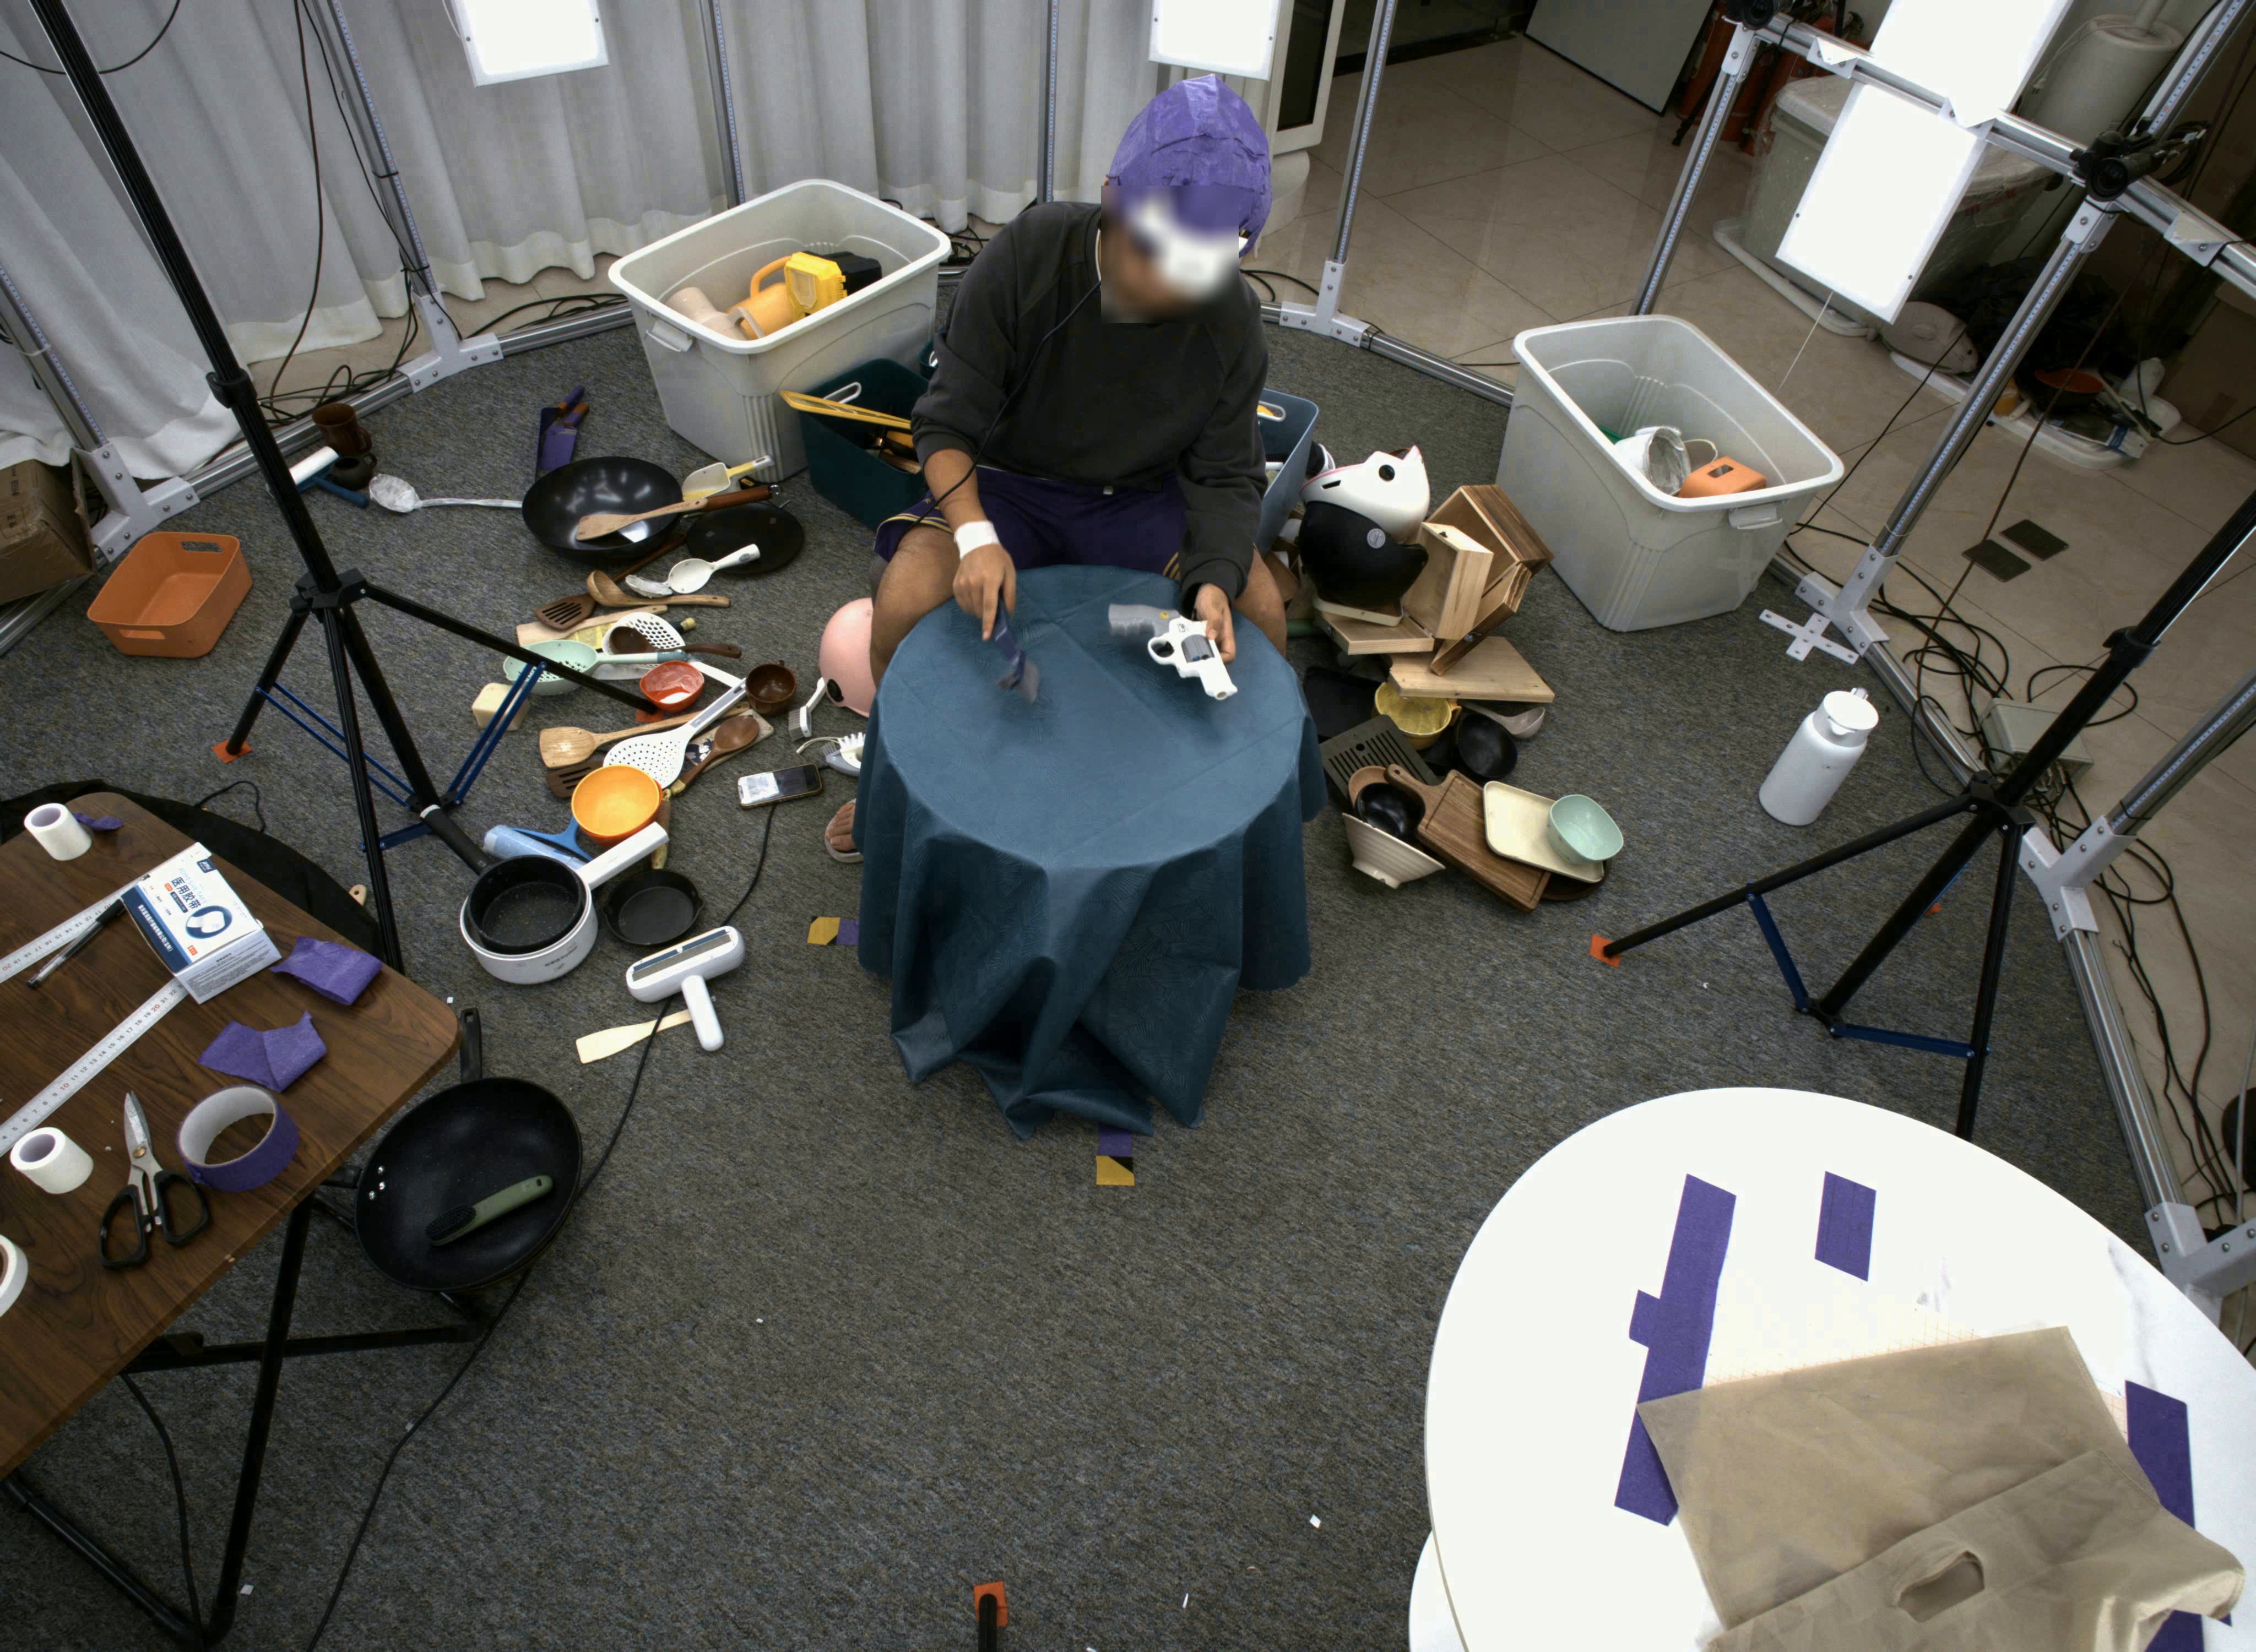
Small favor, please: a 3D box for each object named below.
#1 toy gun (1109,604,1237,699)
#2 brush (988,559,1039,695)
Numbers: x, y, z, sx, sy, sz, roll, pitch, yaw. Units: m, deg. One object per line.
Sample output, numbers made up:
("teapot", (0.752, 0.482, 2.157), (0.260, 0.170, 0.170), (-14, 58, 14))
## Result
("toy gun", (0.059, -0.251, 1.811), (0.141, 0.038, 0.214), (-13, 52, -6))
("brush", (-0.179, -0.288, 1.810), (0.094, 0.033, 0.280), (20, 37, -41))
